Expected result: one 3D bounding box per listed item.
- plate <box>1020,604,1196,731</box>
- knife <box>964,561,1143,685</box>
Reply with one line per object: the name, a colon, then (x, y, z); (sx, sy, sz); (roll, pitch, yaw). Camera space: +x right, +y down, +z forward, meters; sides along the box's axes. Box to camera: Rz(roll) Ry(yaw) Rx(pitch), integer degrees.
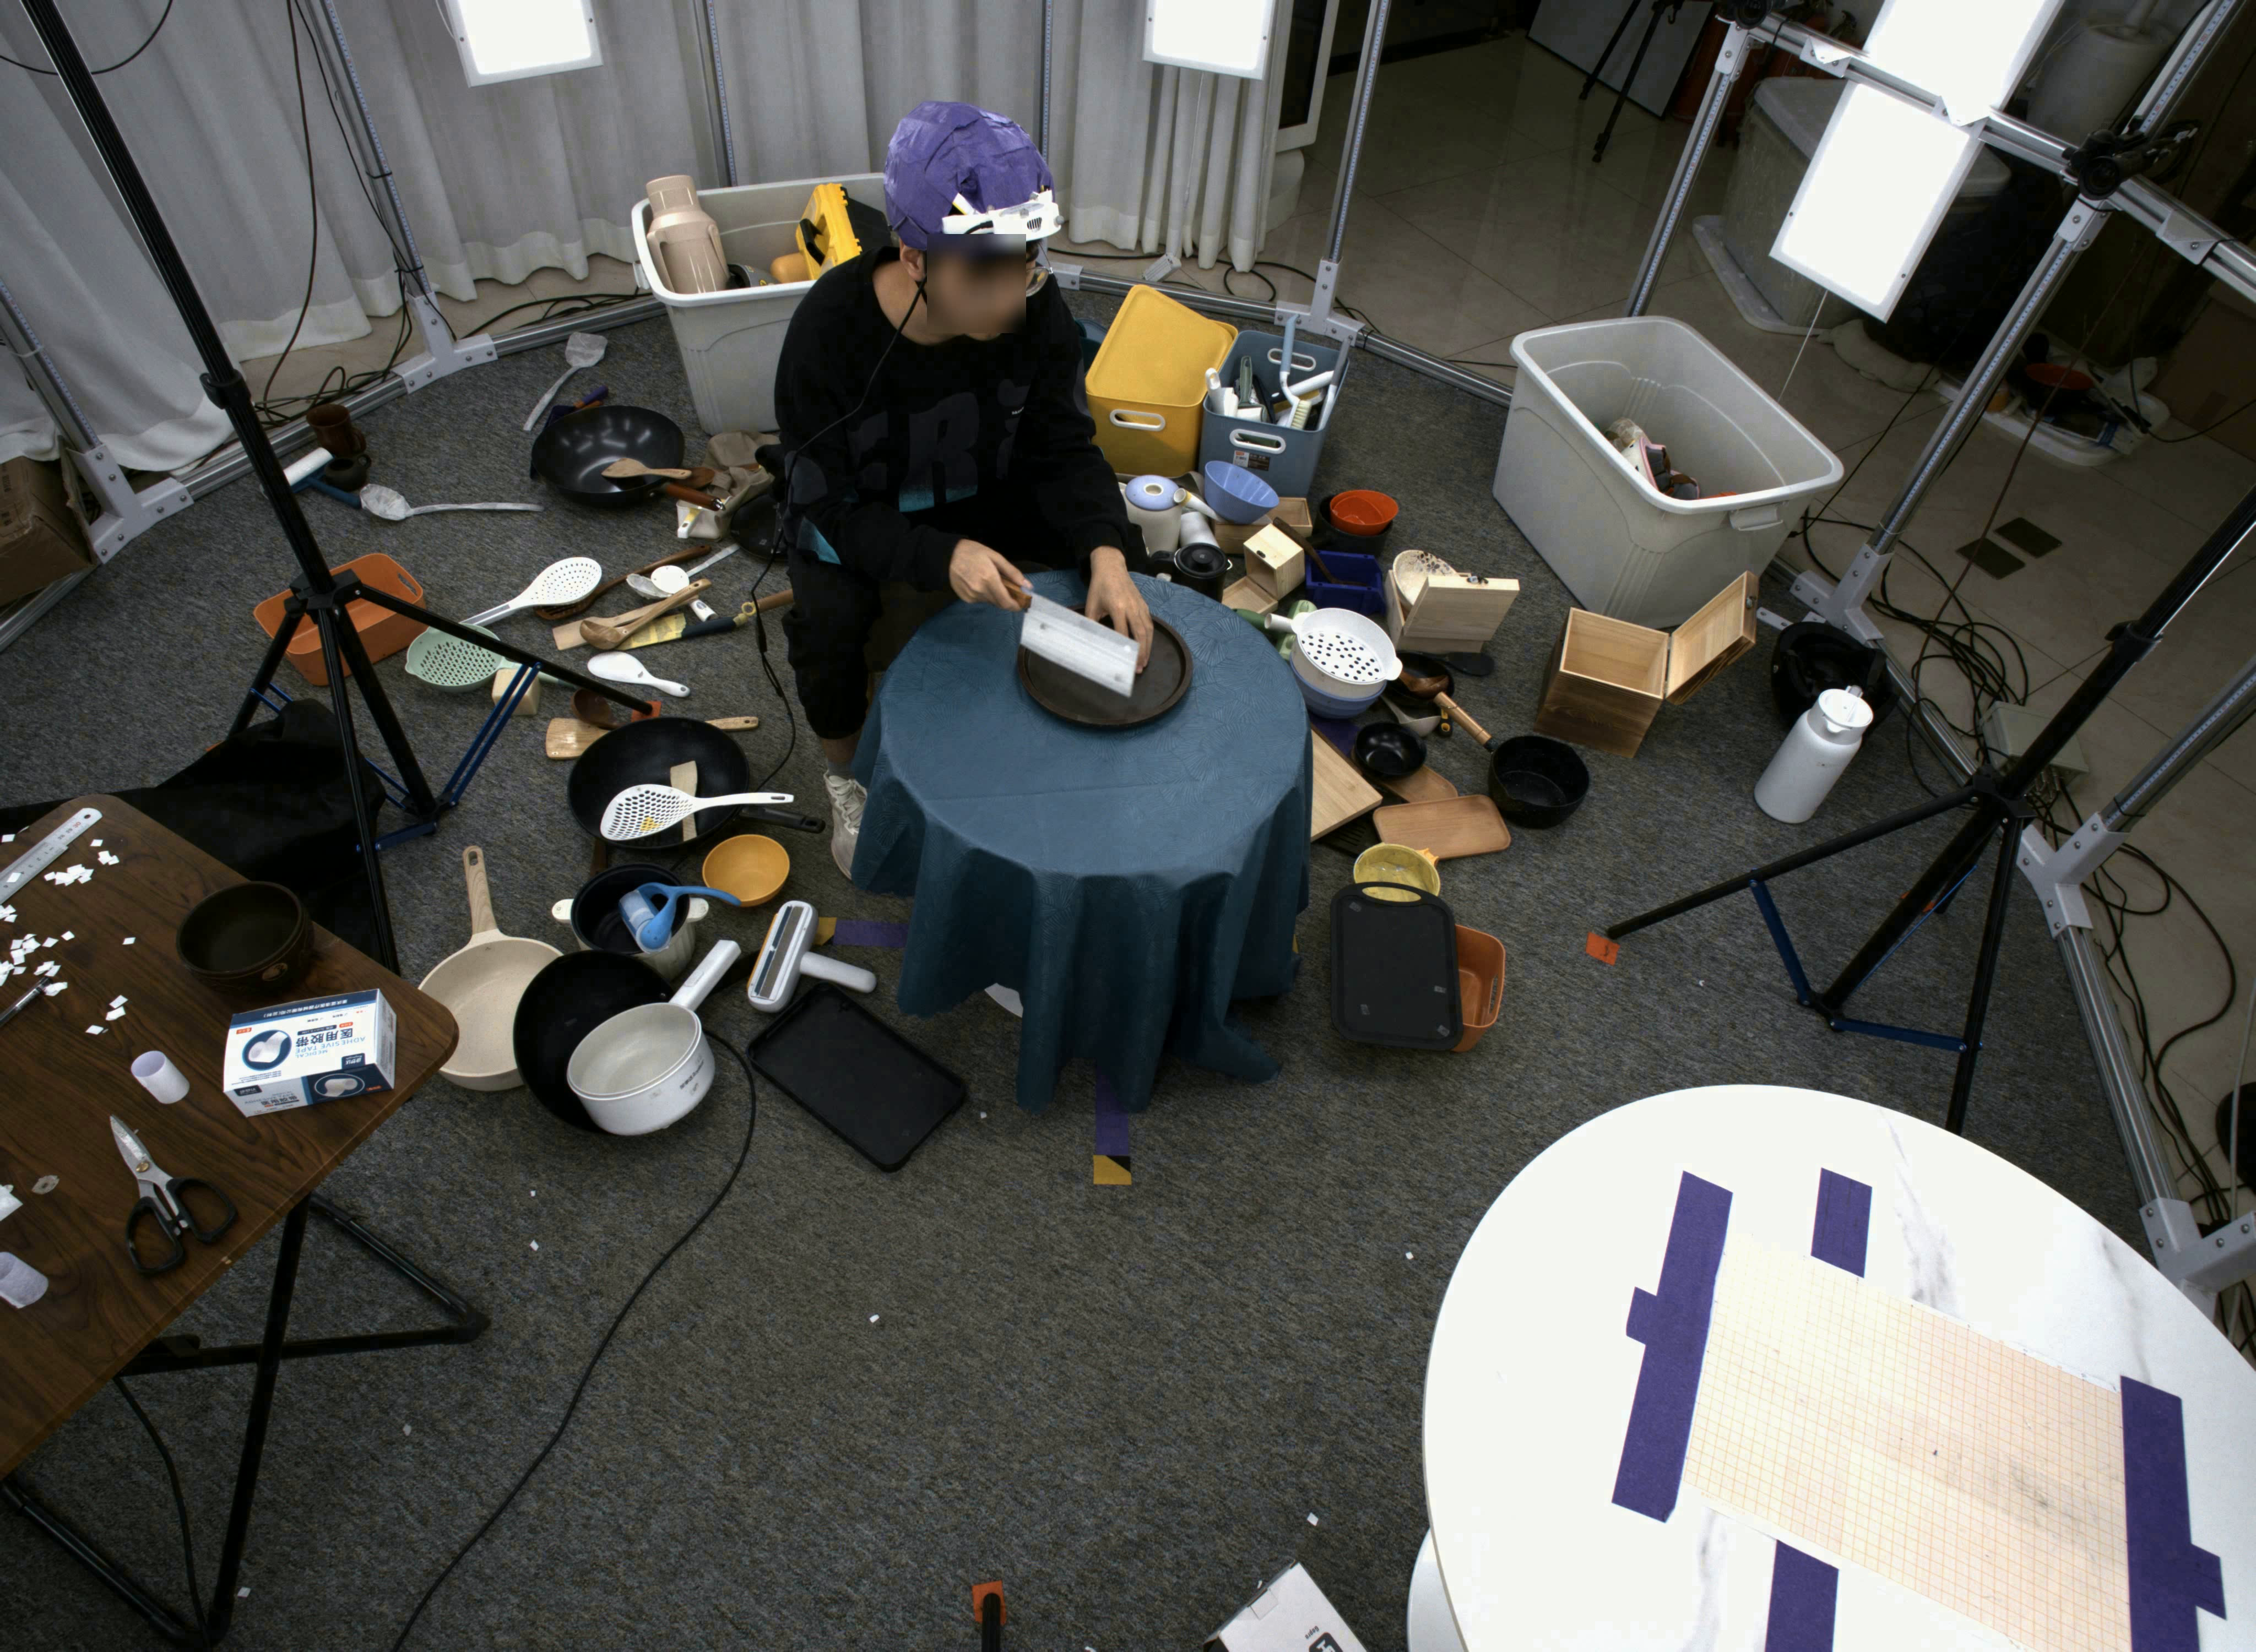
plate: (-0.029, -0.230, 1.850); (0.254, 0.028, 0.261); (1, 51, -2)
knife: (-0.108, -0.281, 1.804); (0.309, 0.091, 0.021); (28, 43, 21)
